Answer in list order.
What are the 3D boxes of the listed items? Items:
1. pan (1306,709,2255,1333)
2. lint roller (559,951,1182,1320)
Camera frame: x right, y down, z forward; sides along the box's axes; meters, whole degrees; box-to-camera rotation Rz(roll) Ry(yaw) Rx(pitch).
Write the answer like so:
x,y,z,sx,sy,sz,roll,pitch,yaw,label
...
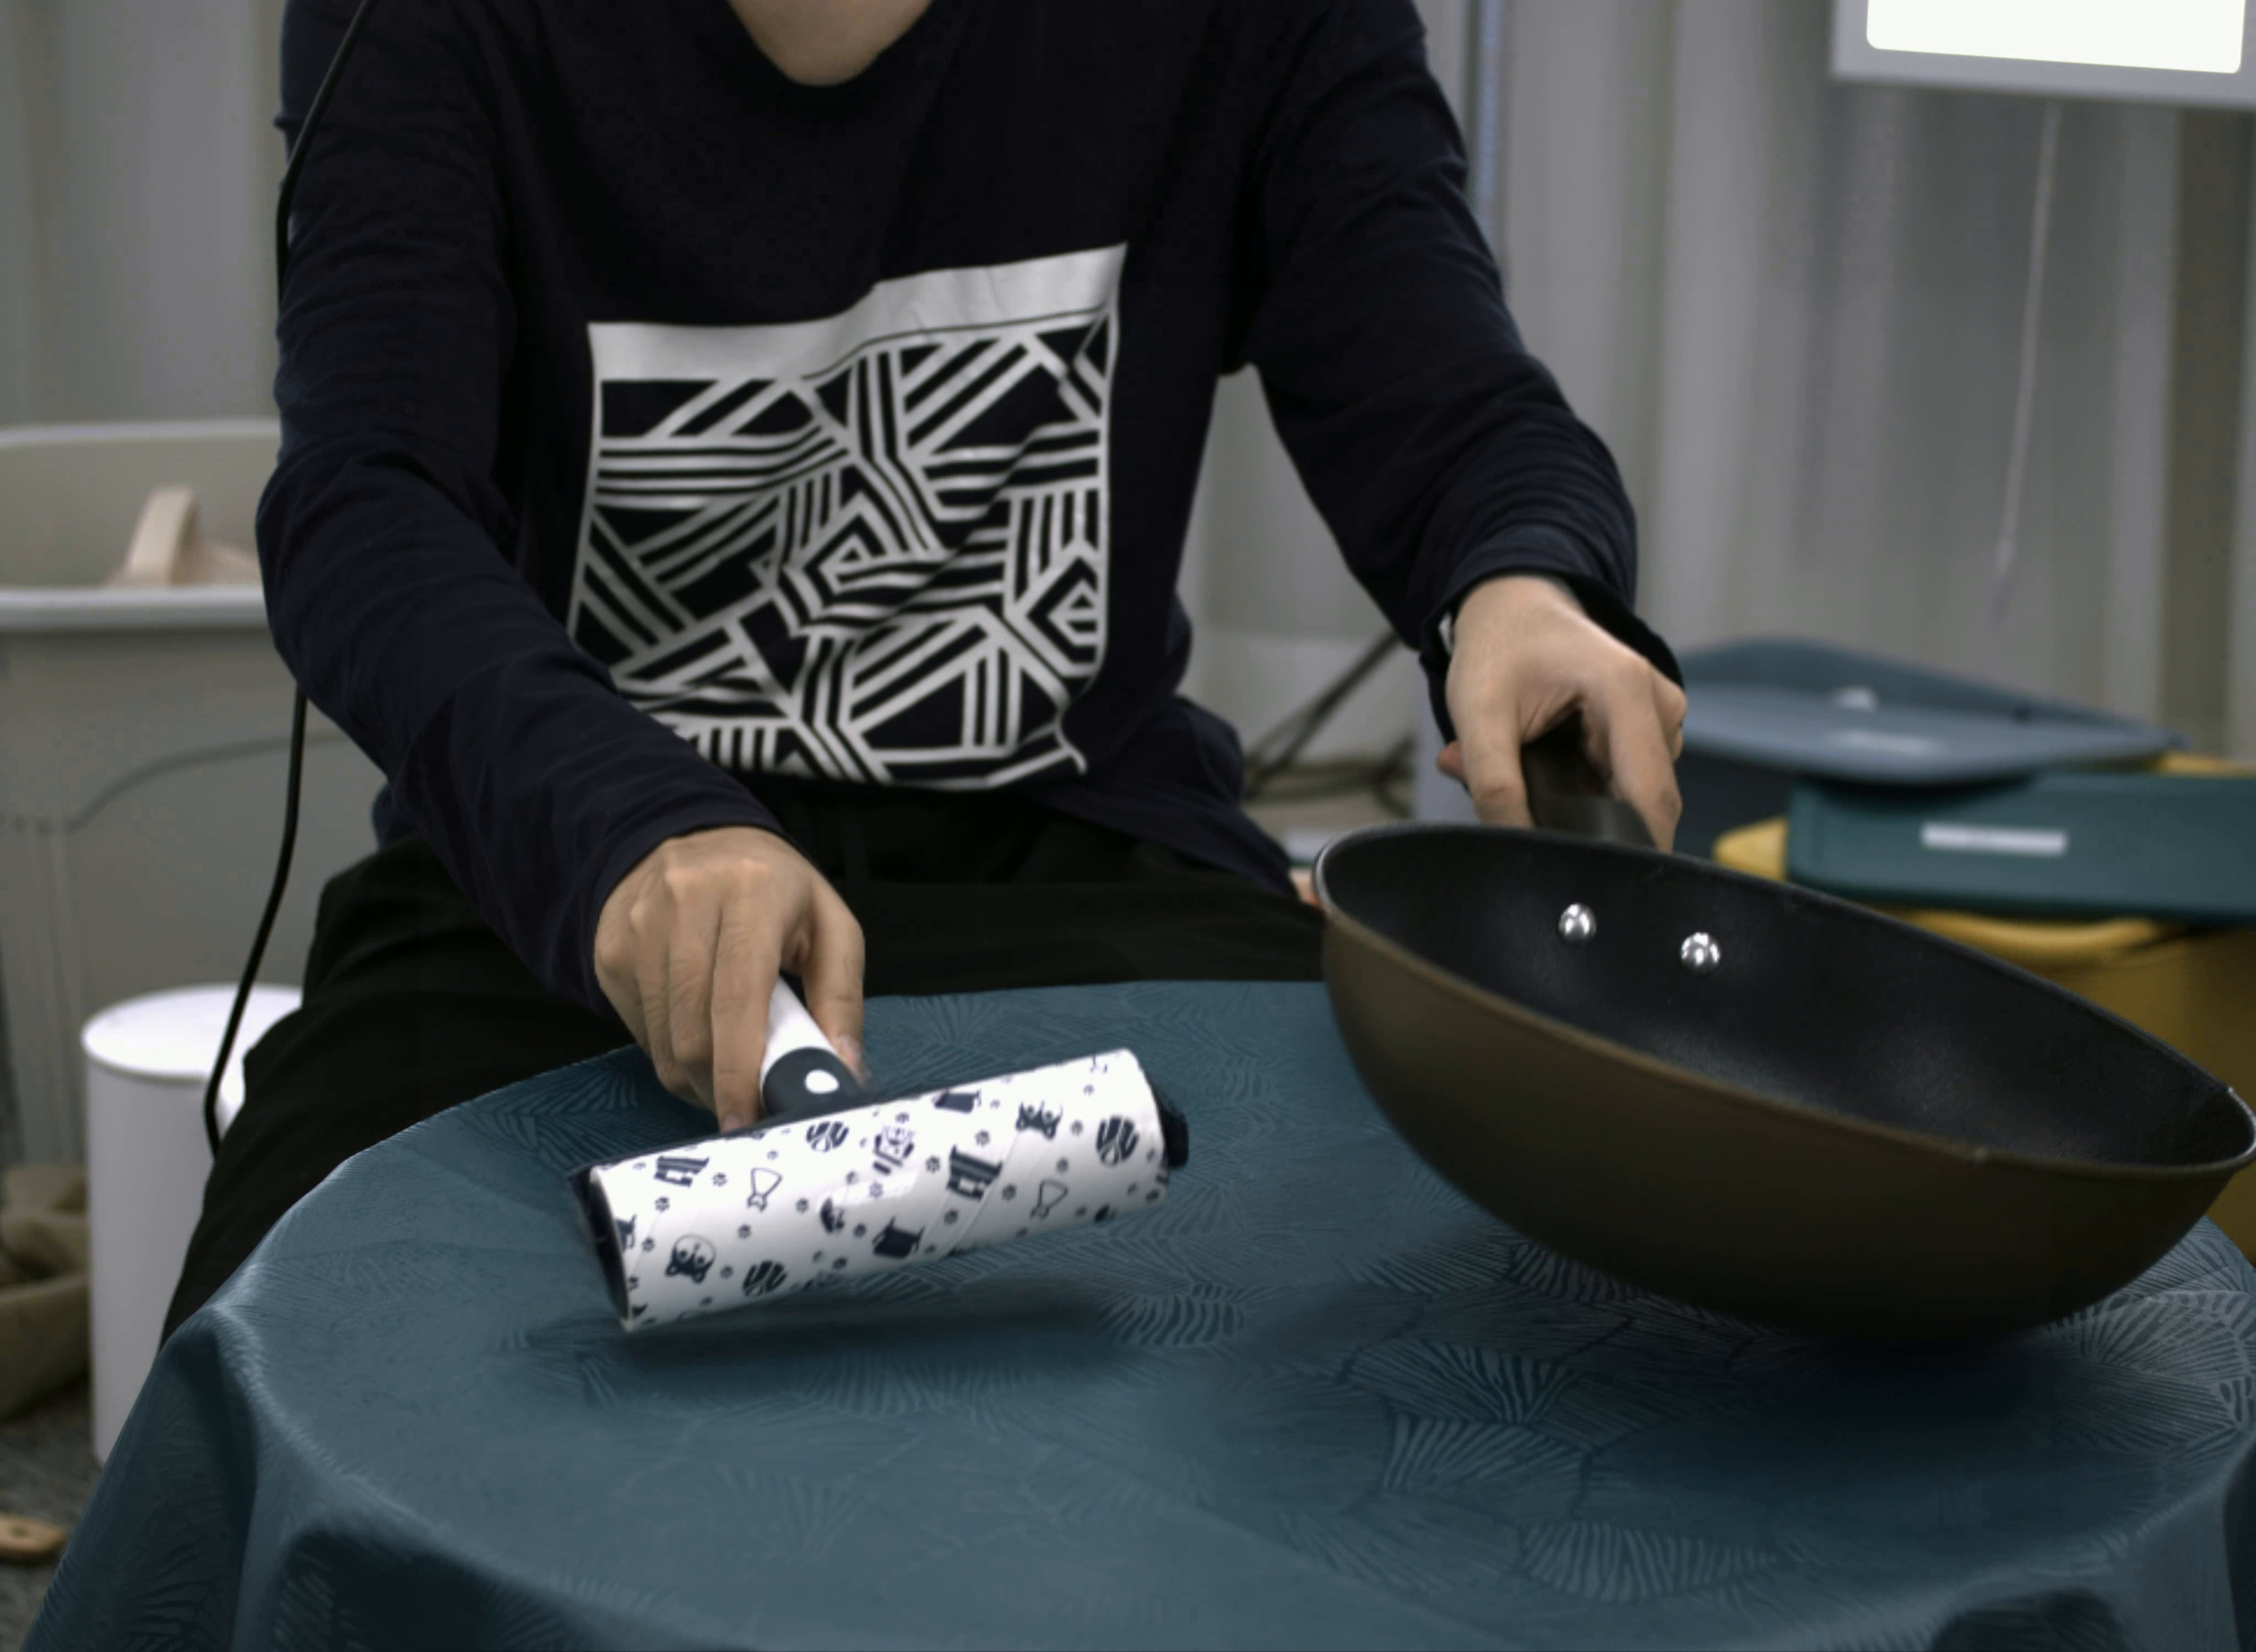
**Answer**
x,y,z,sx,sy,sz,roll,pitch,yaw,label
0.161,0.054,1.599,0.289,0.087,0.459,13,13,-14,pan
-0.101,0.073,1.592,0.176,0.051,0.244,-14,19,-14,lint roller
